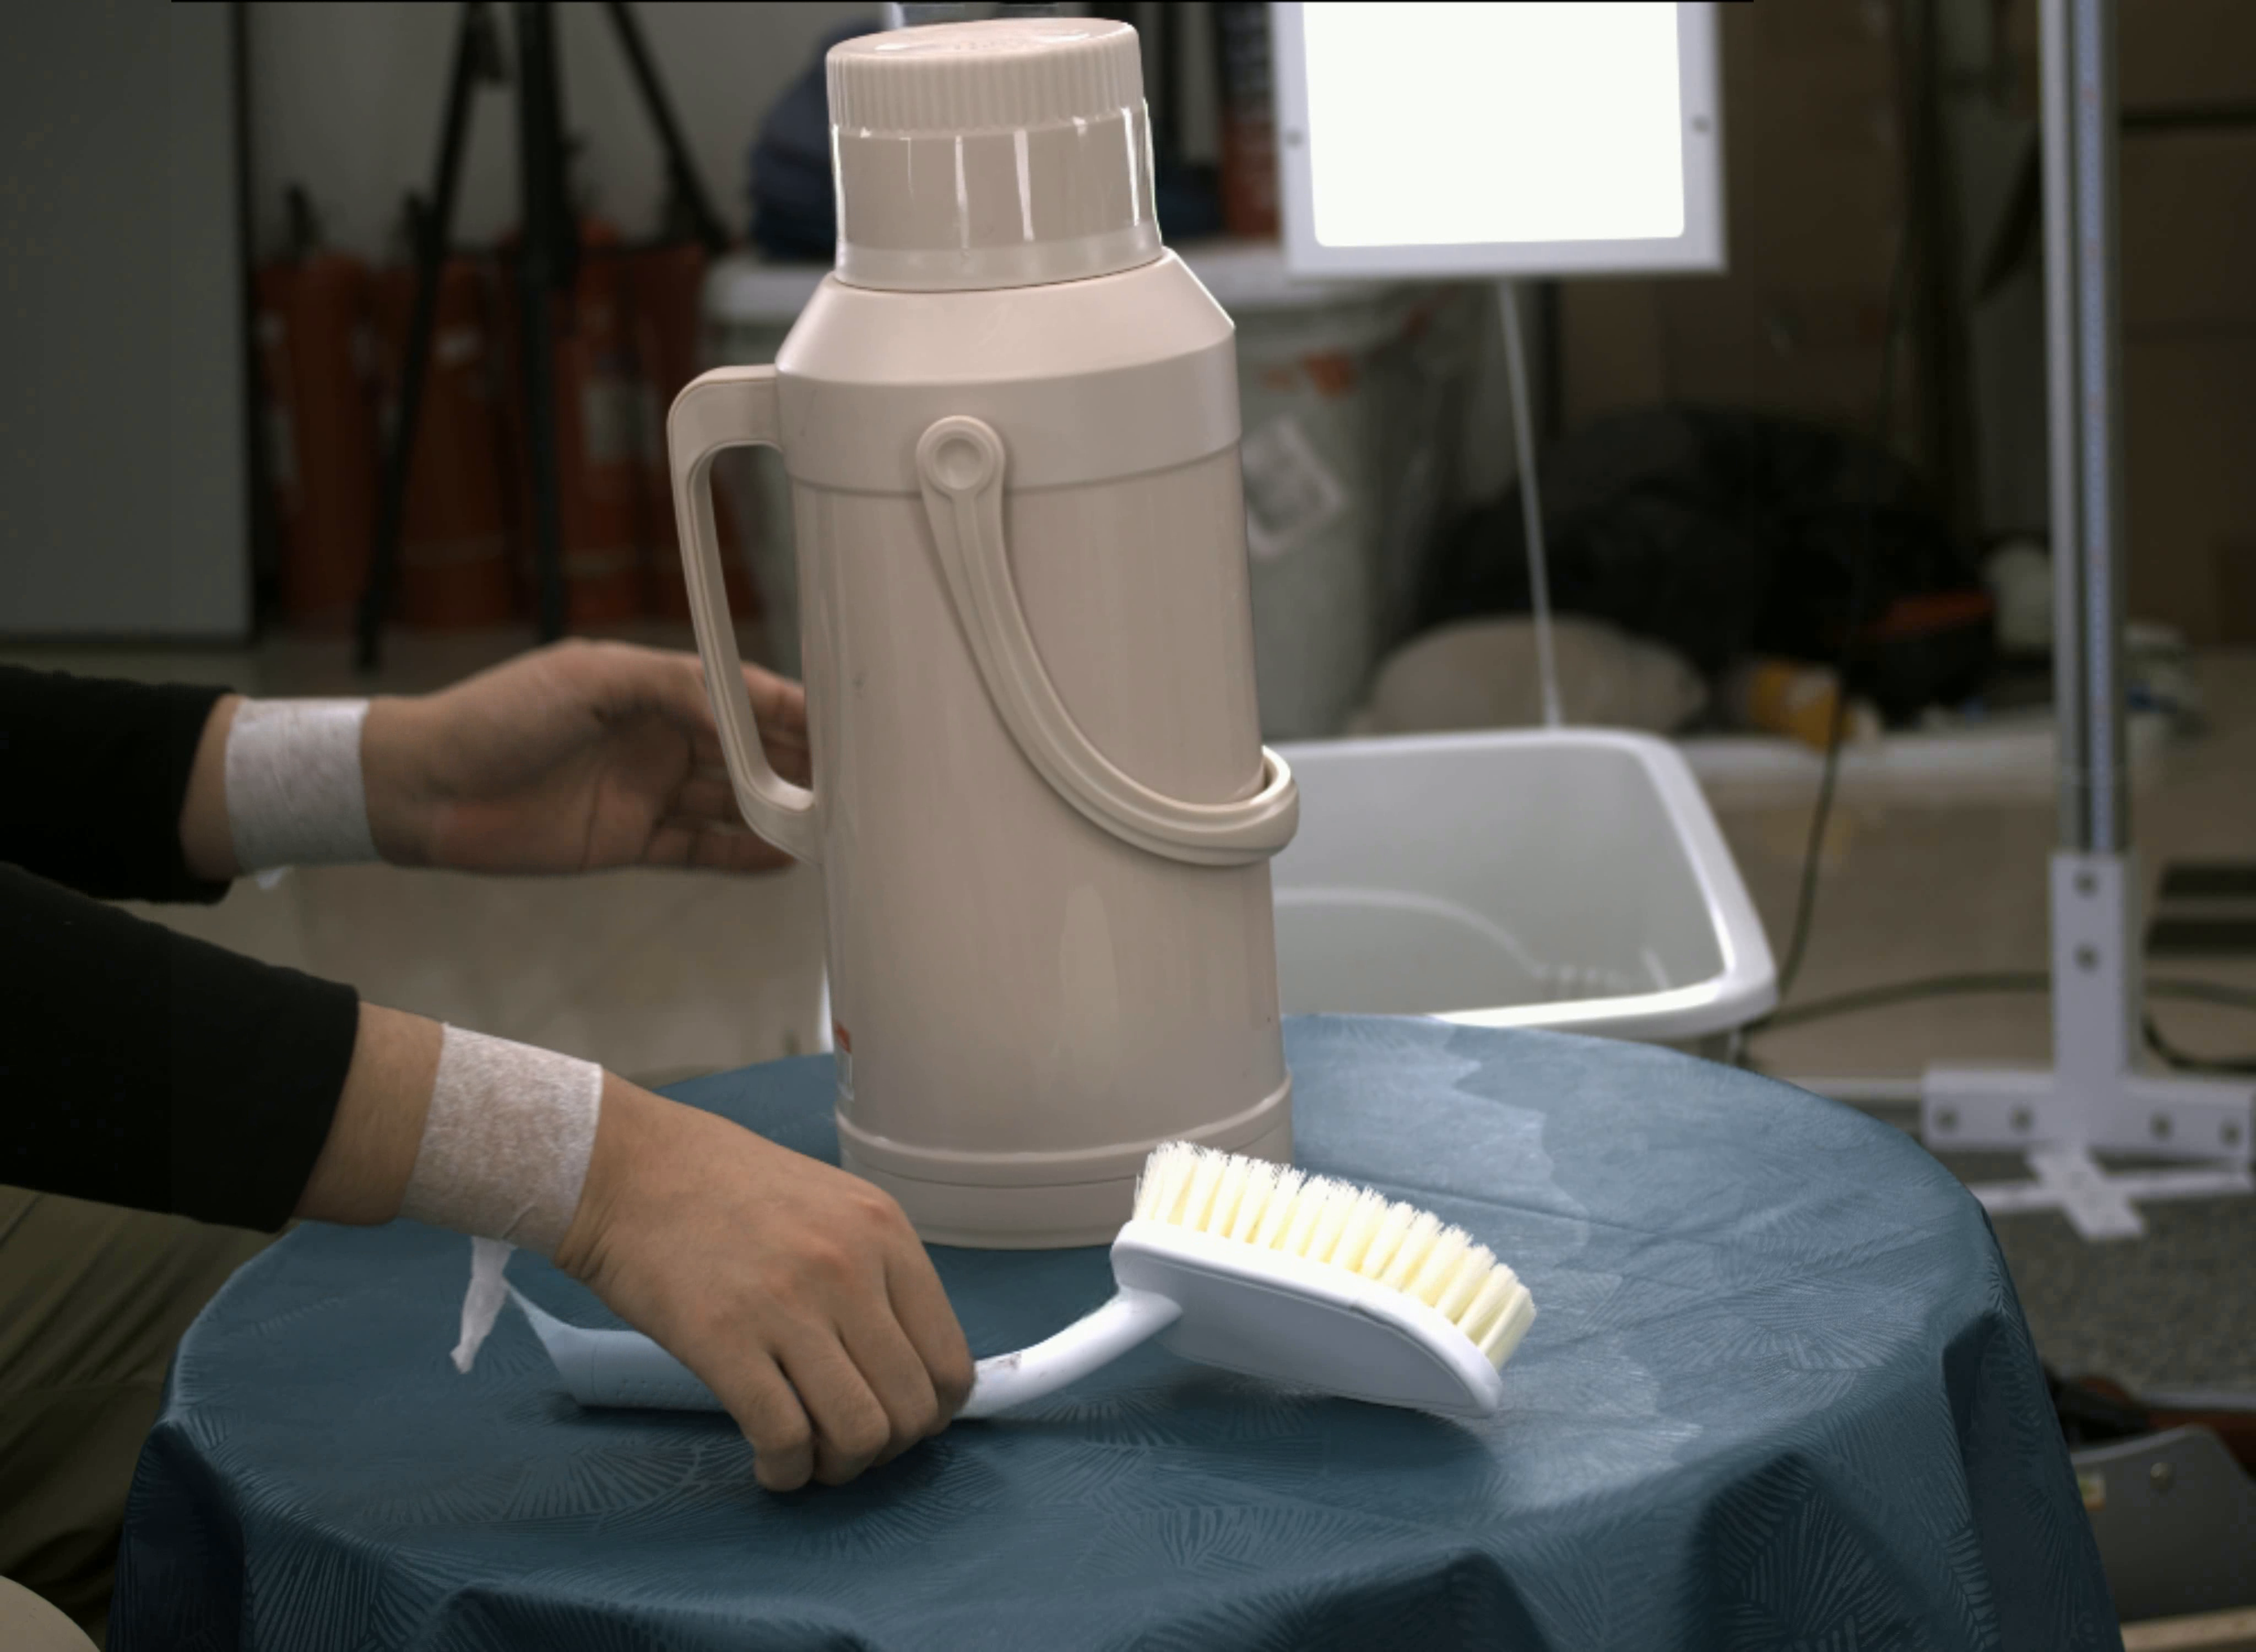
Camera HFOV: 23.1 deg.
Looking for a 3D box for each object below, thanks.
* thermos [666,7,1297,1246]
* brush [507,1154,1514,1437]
[{"bbox_3d":[-0.049,-0.069,1.878,0.208,0.408,0.173,-1,16,11],"label":"thermos"},{"bbox_3d":[-0.038,0.140,1.698,0.330,0.083,0.083,1,15,22],"label":"brush"}]
